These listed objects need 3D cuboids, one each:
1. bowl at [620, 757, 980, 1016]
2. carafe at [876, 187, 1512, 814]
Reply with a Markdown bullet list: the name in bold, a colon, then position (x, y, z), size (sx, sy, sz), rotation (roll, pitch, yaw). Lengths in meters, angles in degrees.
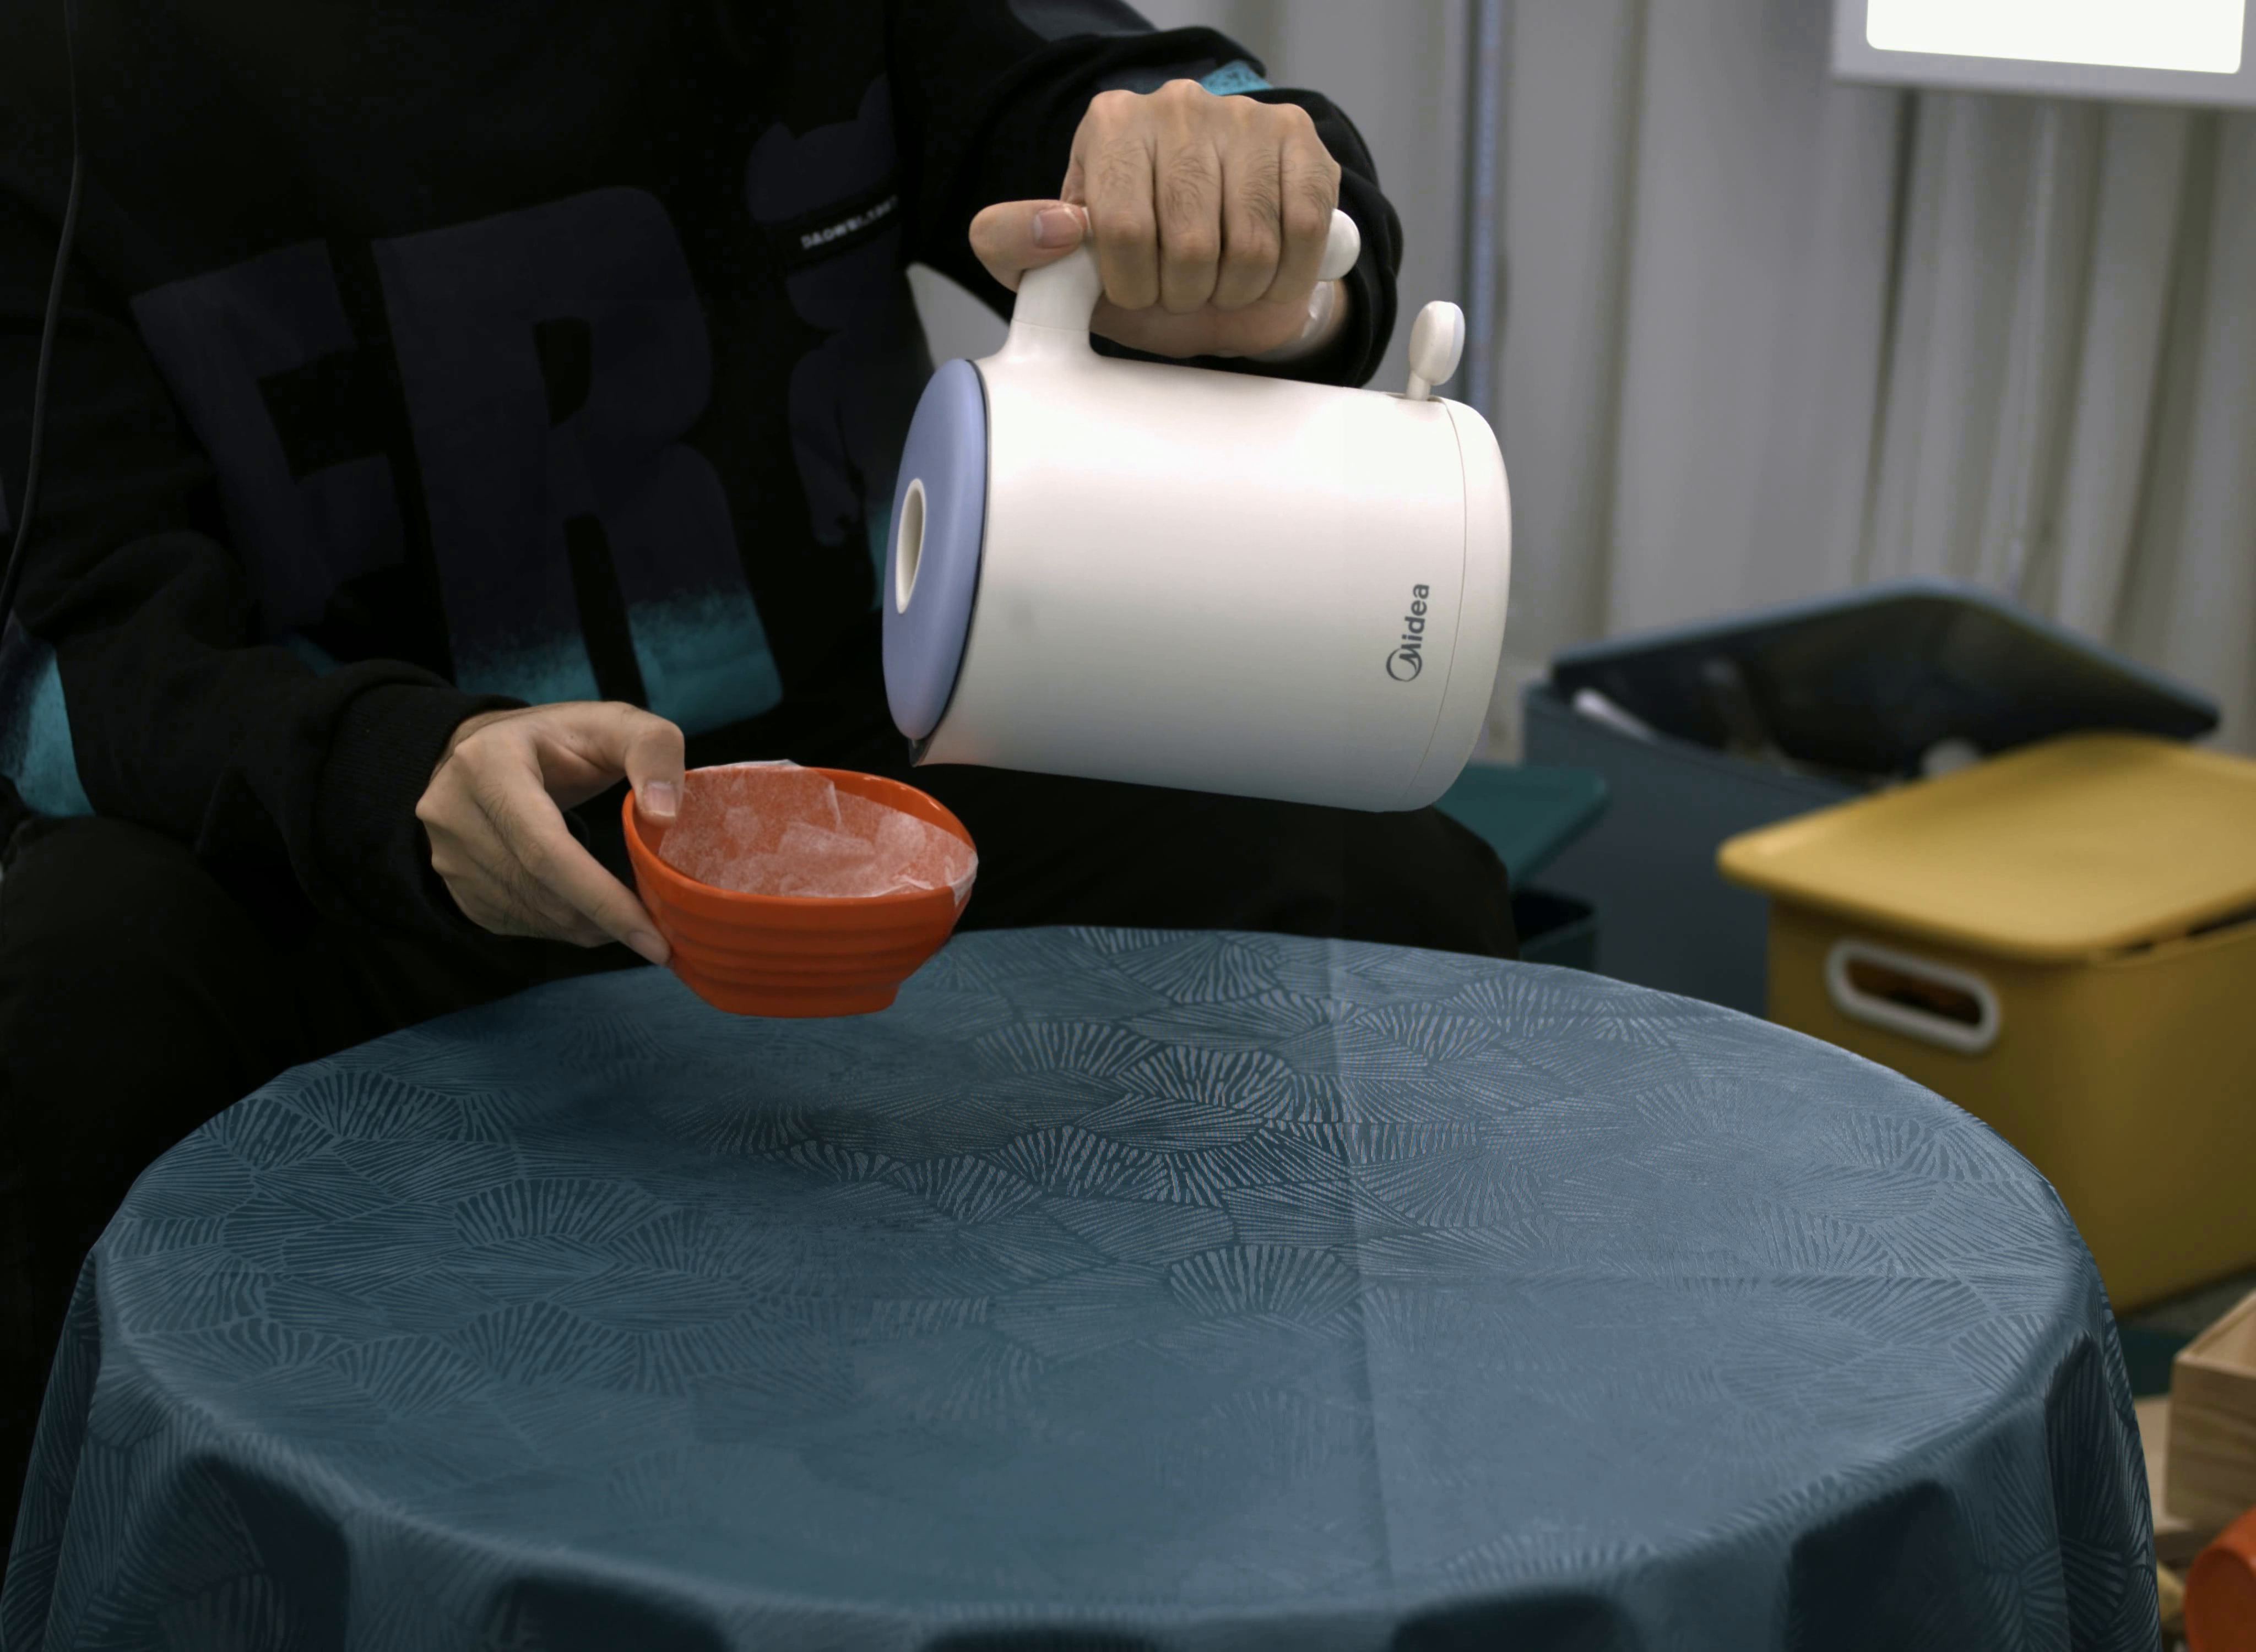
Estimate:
- **bowl**: position (-0.105, 0.022, 1.653), size (0.118, 0.052, 0.118), rotation (5, 24, -2)
- **carafe**: position (0.024, -0.101, 1.627), size (0.183, 0.192, 0.131), rotation (9, 8, -15)
